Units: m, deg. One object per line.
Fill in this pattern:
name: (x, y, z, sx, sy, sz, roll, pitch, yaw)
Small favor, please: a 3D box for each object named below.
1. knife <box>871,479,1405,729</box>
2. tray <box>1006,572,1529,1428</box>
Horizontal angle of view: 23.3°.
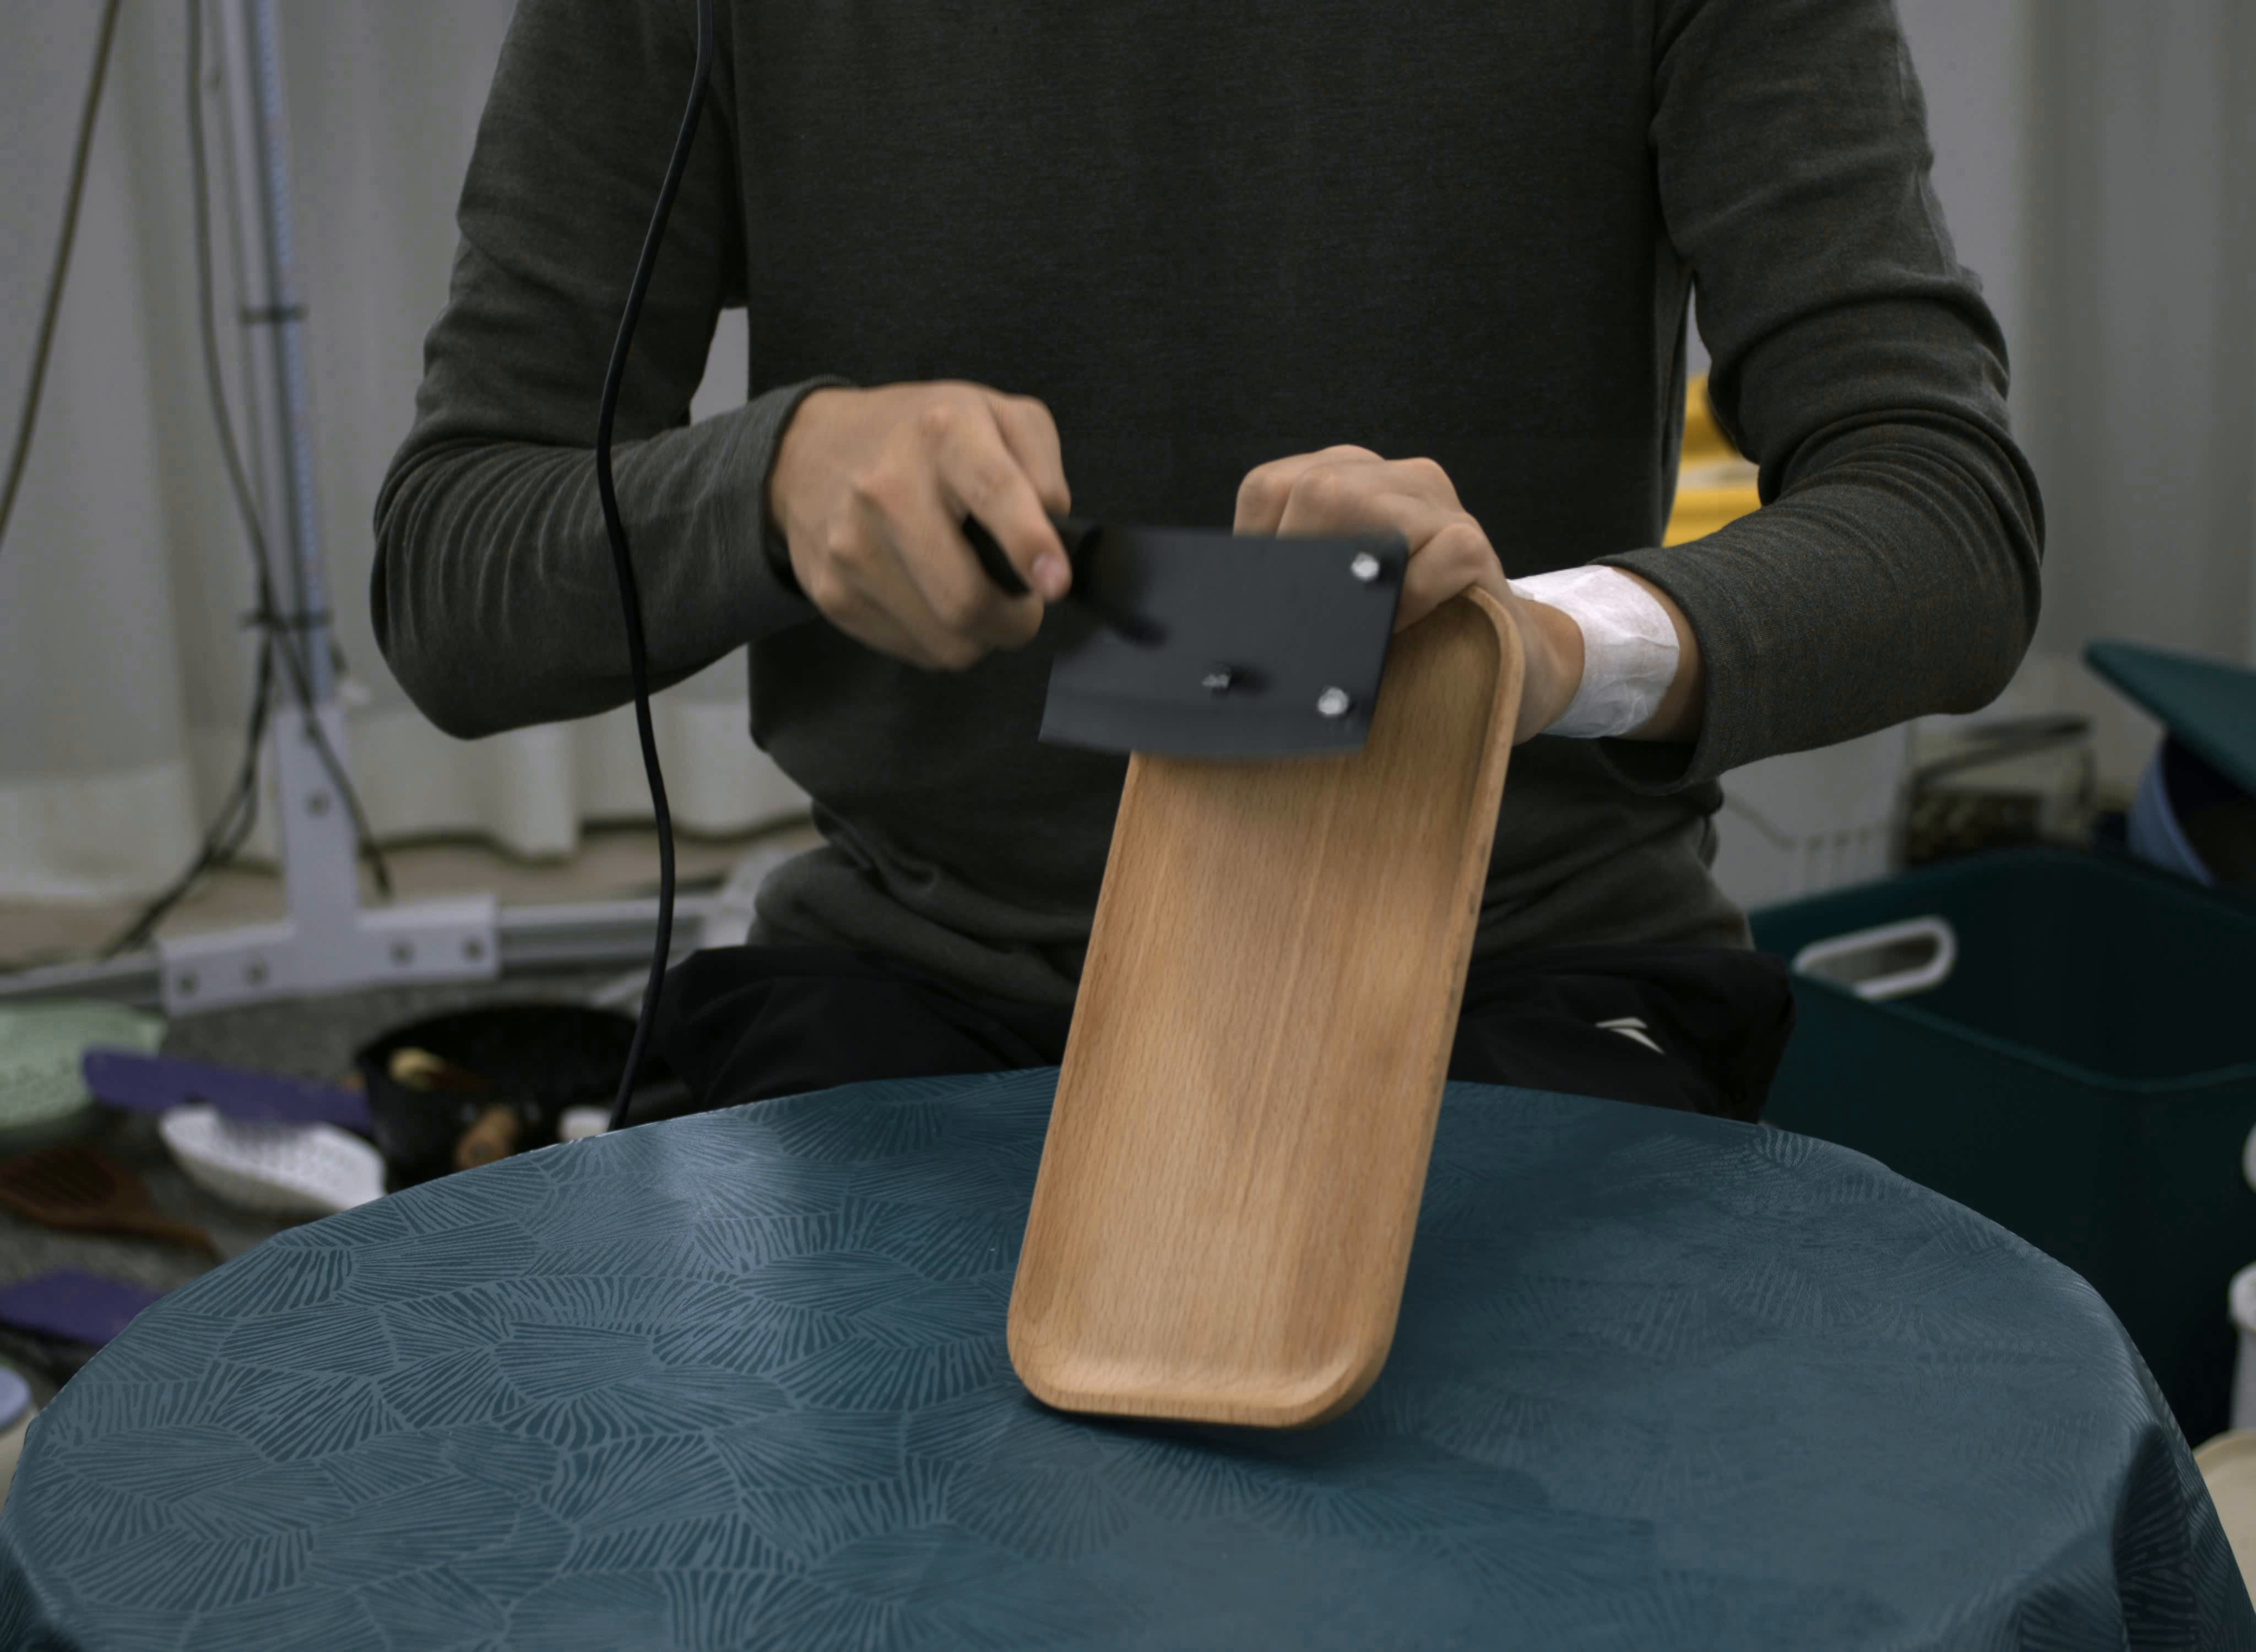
knife: (-0.002, -0.068, 1.625, 0.020, 0.081, 0.304, 14, 0, -30)
tray: (0.041, 0.047, 1.546, 0.131, 0.253, 0.022, 1, -22, 35)
